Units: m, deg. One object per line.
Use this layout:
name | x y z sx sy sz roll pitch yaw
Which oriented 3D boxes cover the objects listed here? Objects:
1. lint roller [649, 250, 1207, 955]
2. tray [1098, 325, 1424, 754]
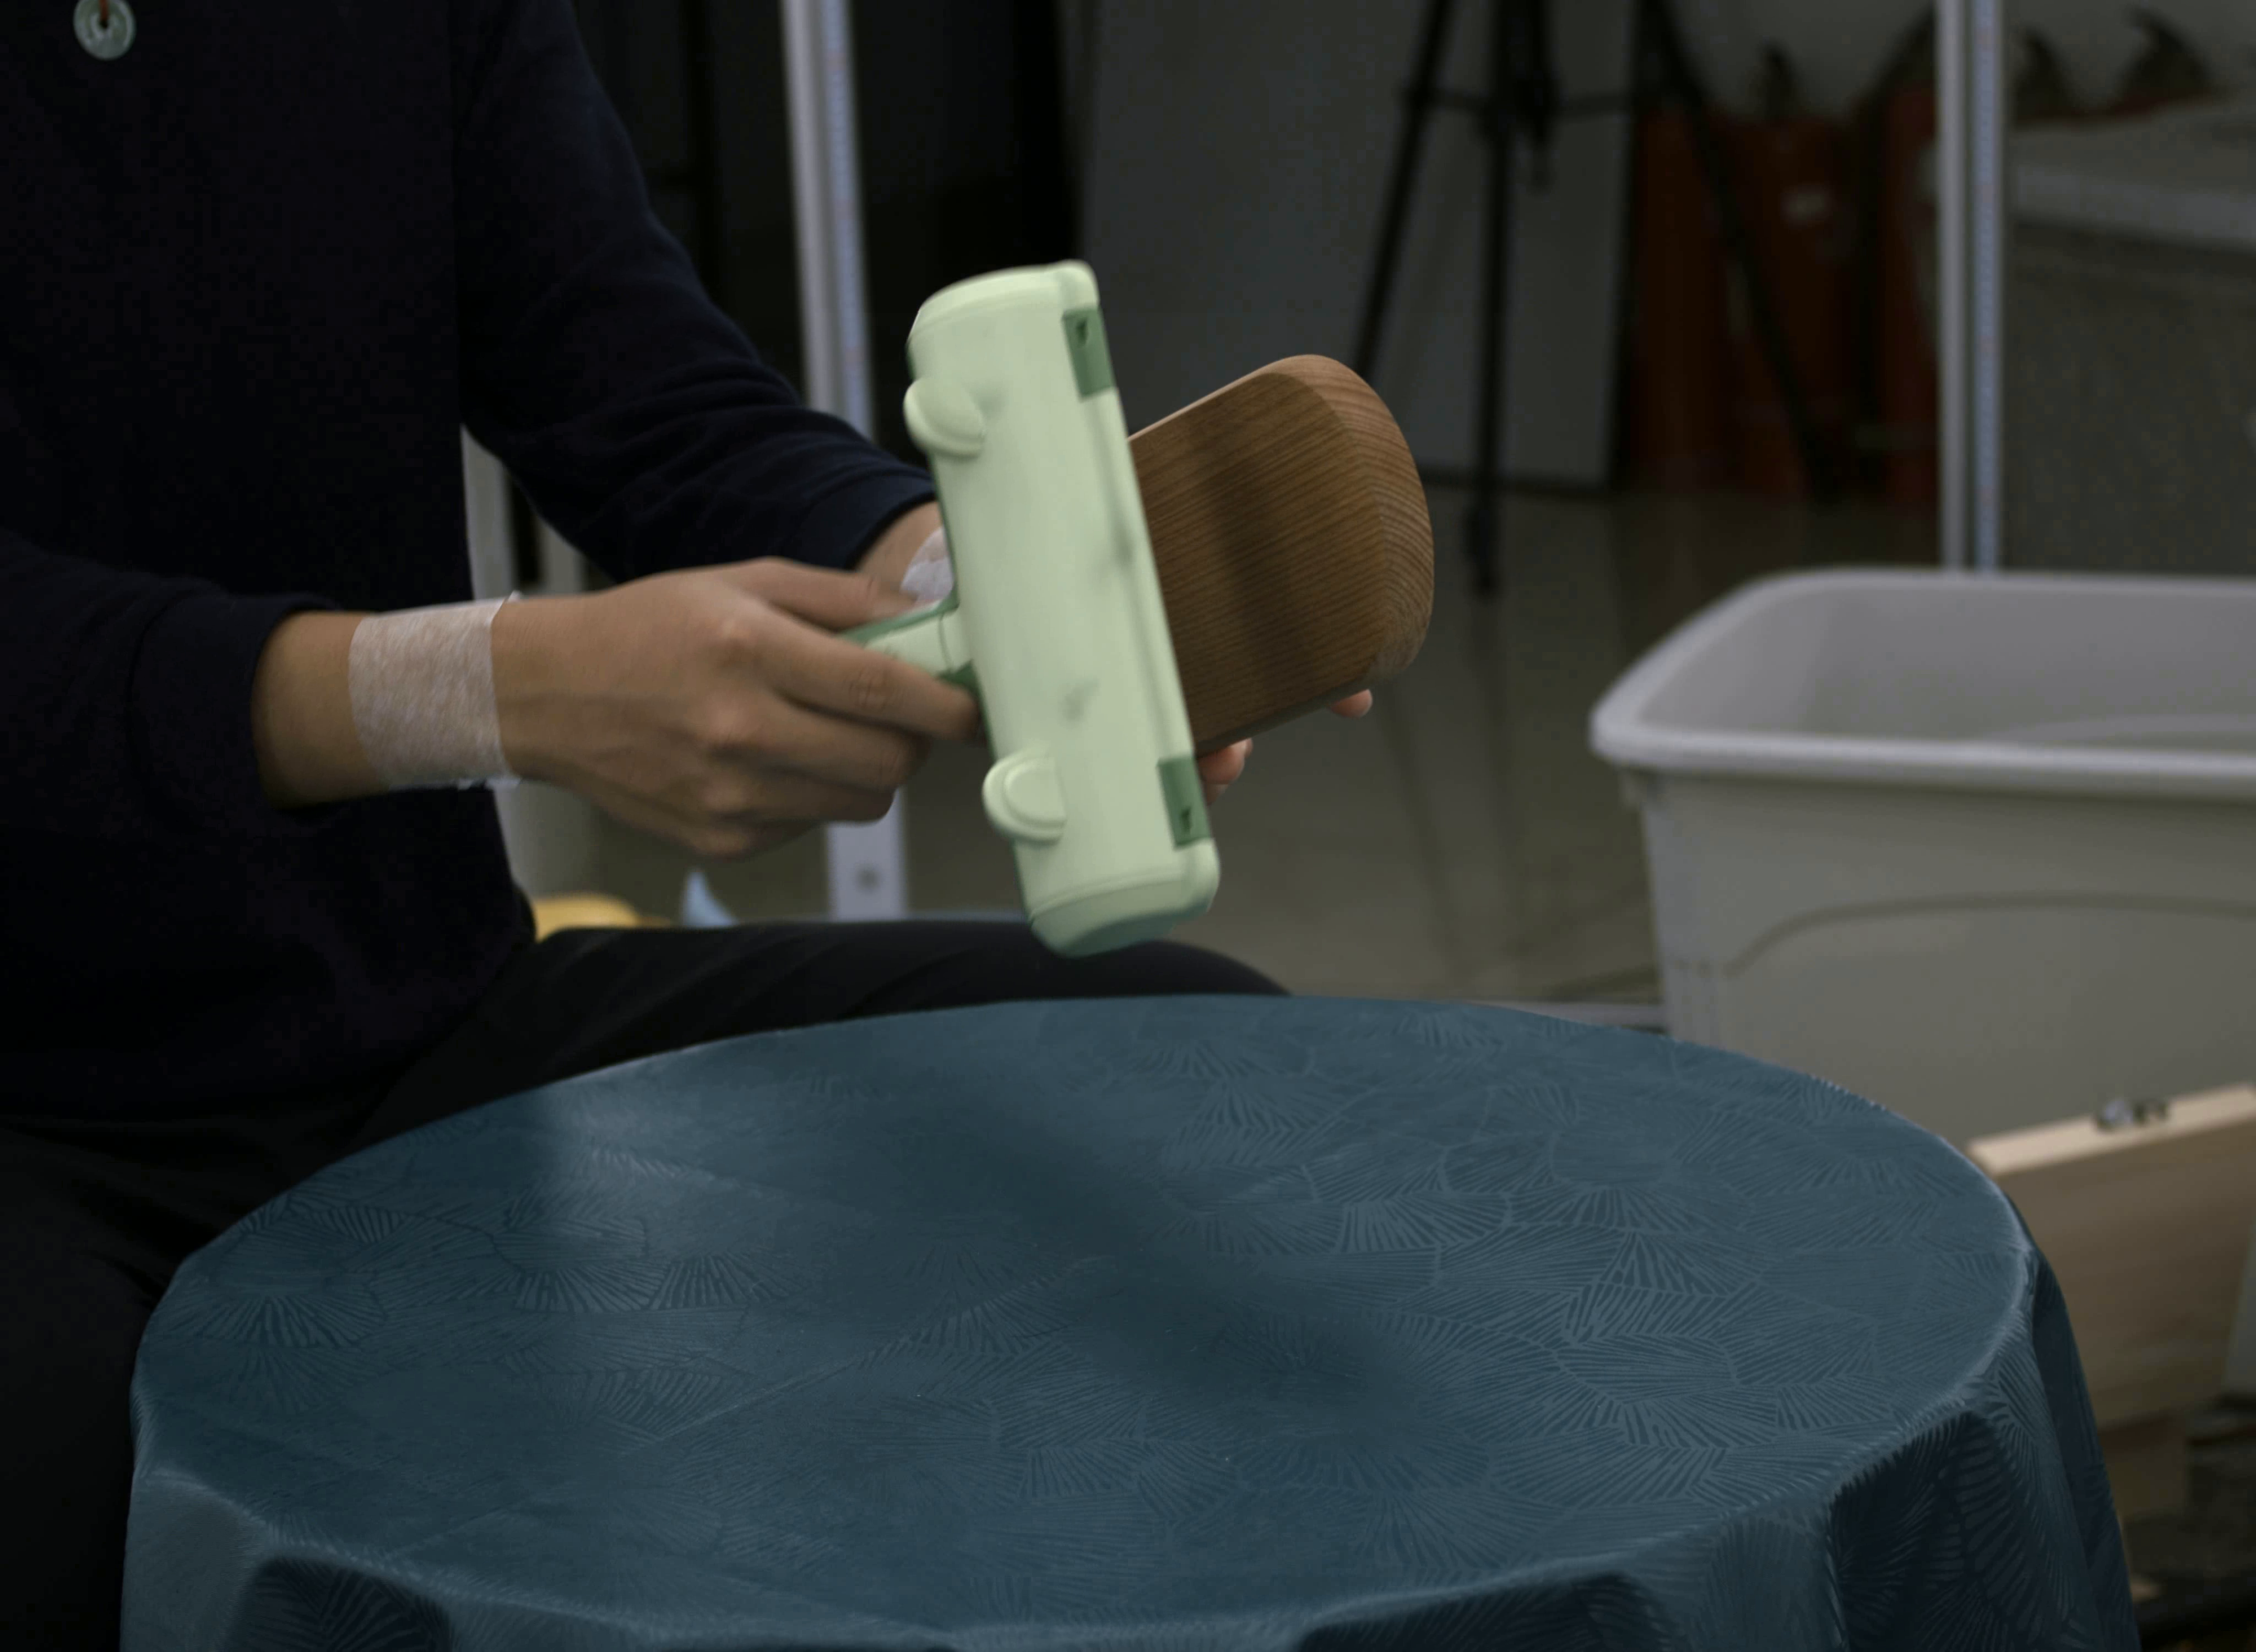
lint roller | -0.076 -0.049 1.572 0.183 0.201 0.081 -18 -14 23
tray | 0.022 -0.081 1.624 0.020 0.103 0.233 -14 -5 -30
